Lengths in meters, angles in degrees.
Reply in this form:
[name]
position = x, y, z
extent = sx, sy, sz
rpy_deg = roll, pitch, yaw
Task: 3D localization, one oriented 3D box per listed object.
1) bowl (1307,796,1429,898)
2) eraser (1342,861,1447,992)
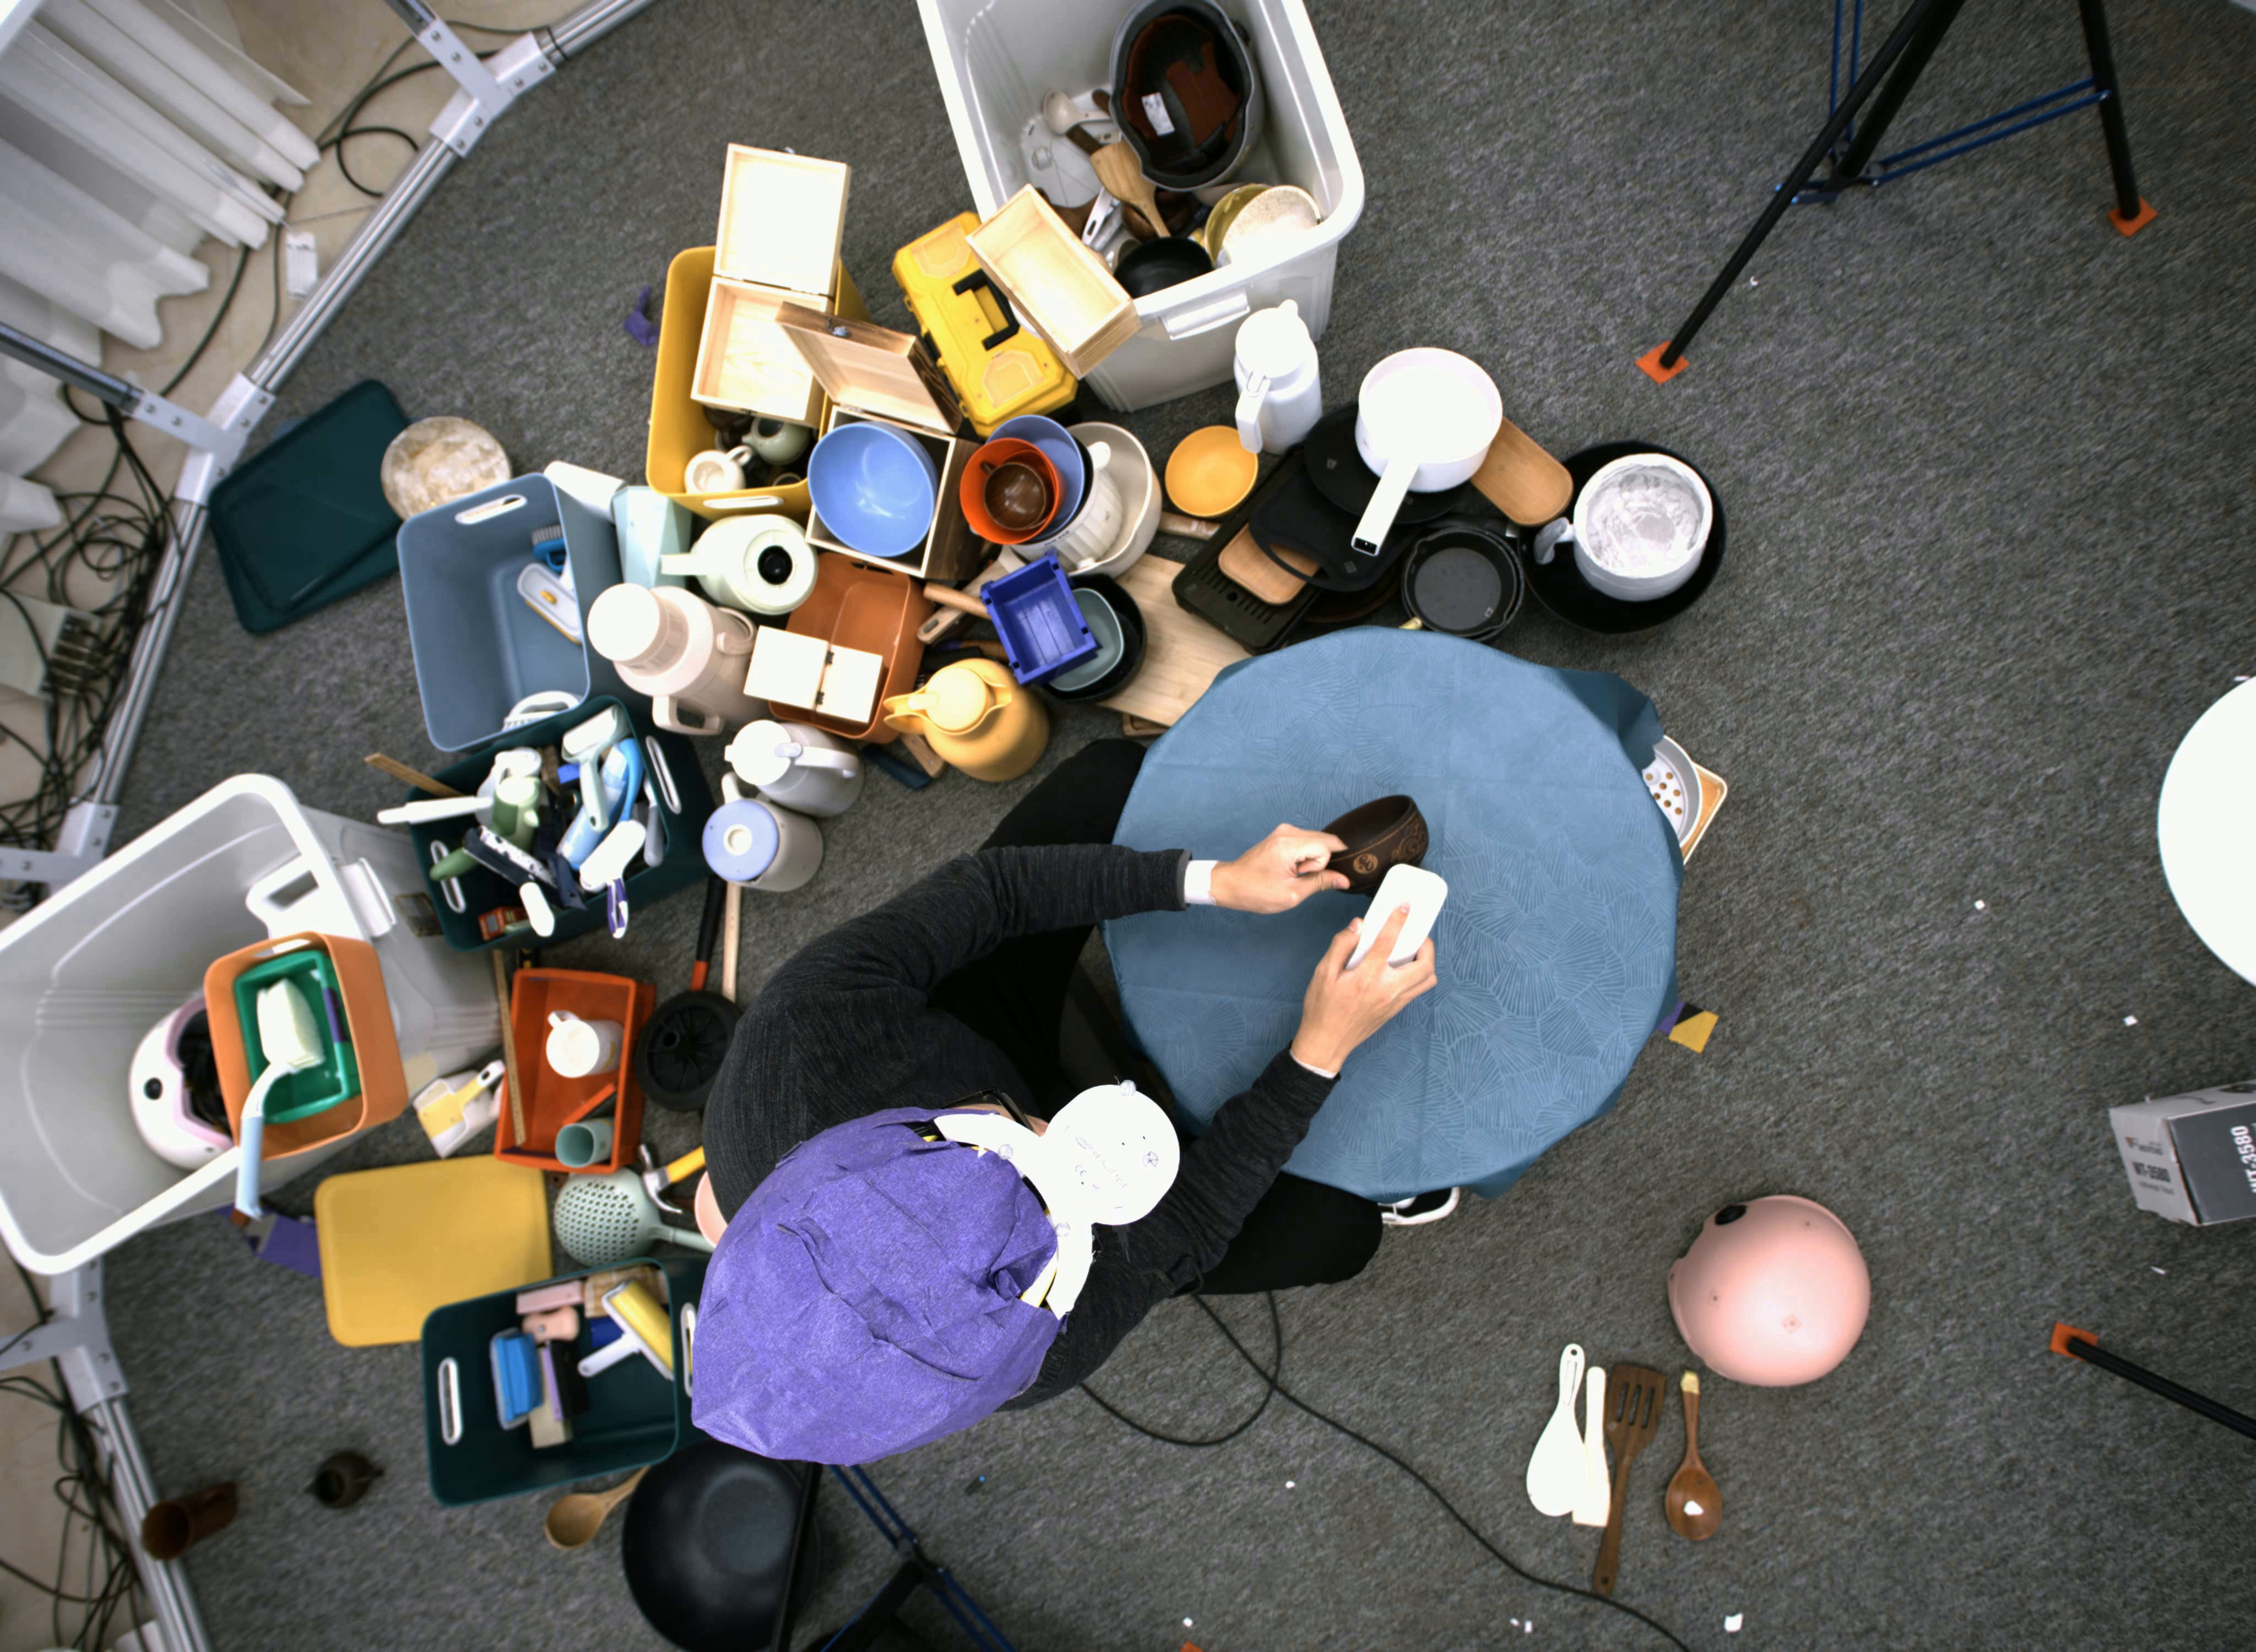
[bowl]
position = 0.245, 0.027, 1.370
extent = 0.118, 0.116, 0.070
rpy_deg = -30, 105, 6
[eraser]
position = 0.254, 0.097, 1.331
extent = 0.063, 0.034, 0.134
rpy_deg = 16, 113, -16
